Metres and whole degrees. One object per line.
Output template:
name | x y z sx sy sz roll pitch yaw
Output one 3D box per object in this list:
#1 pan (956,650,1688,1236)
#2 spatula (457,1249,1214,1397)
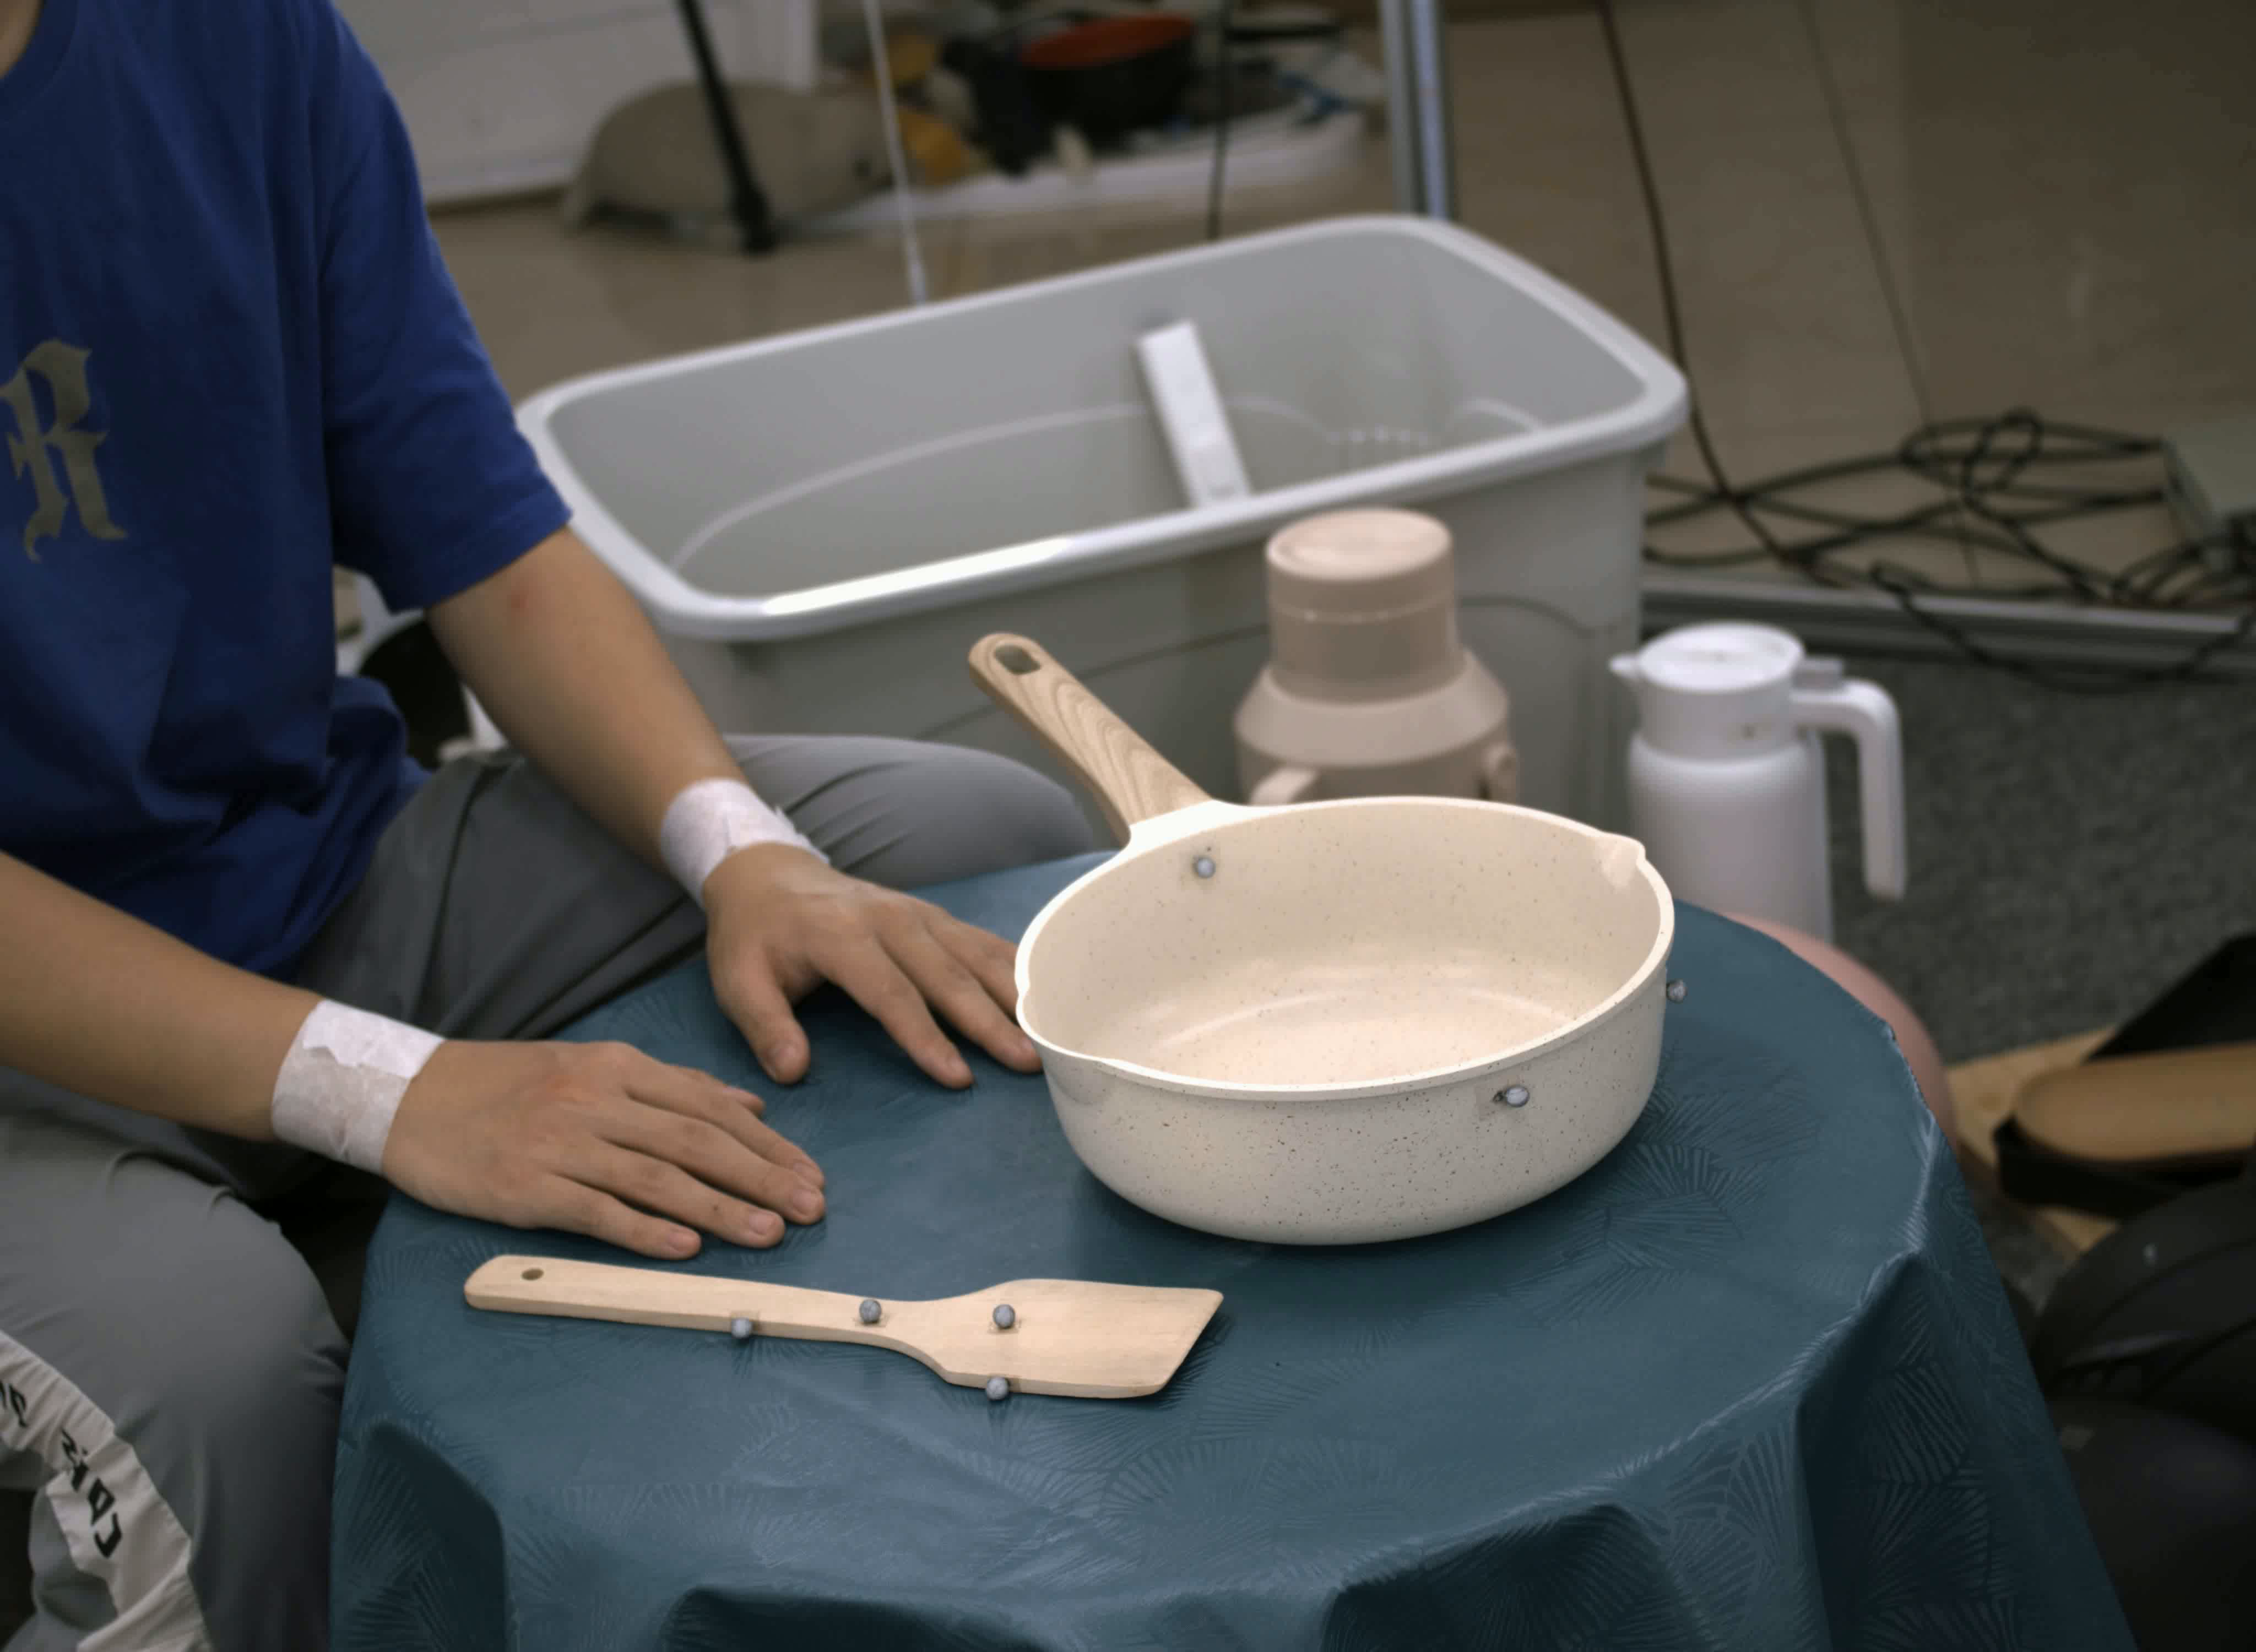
pan | 0.047 0.039 2.232 0.262 0.103 0.430 -20 27 -22
spatula | -0.114 0.178 2.081 0.292 0.011 0.071 4 28 21
